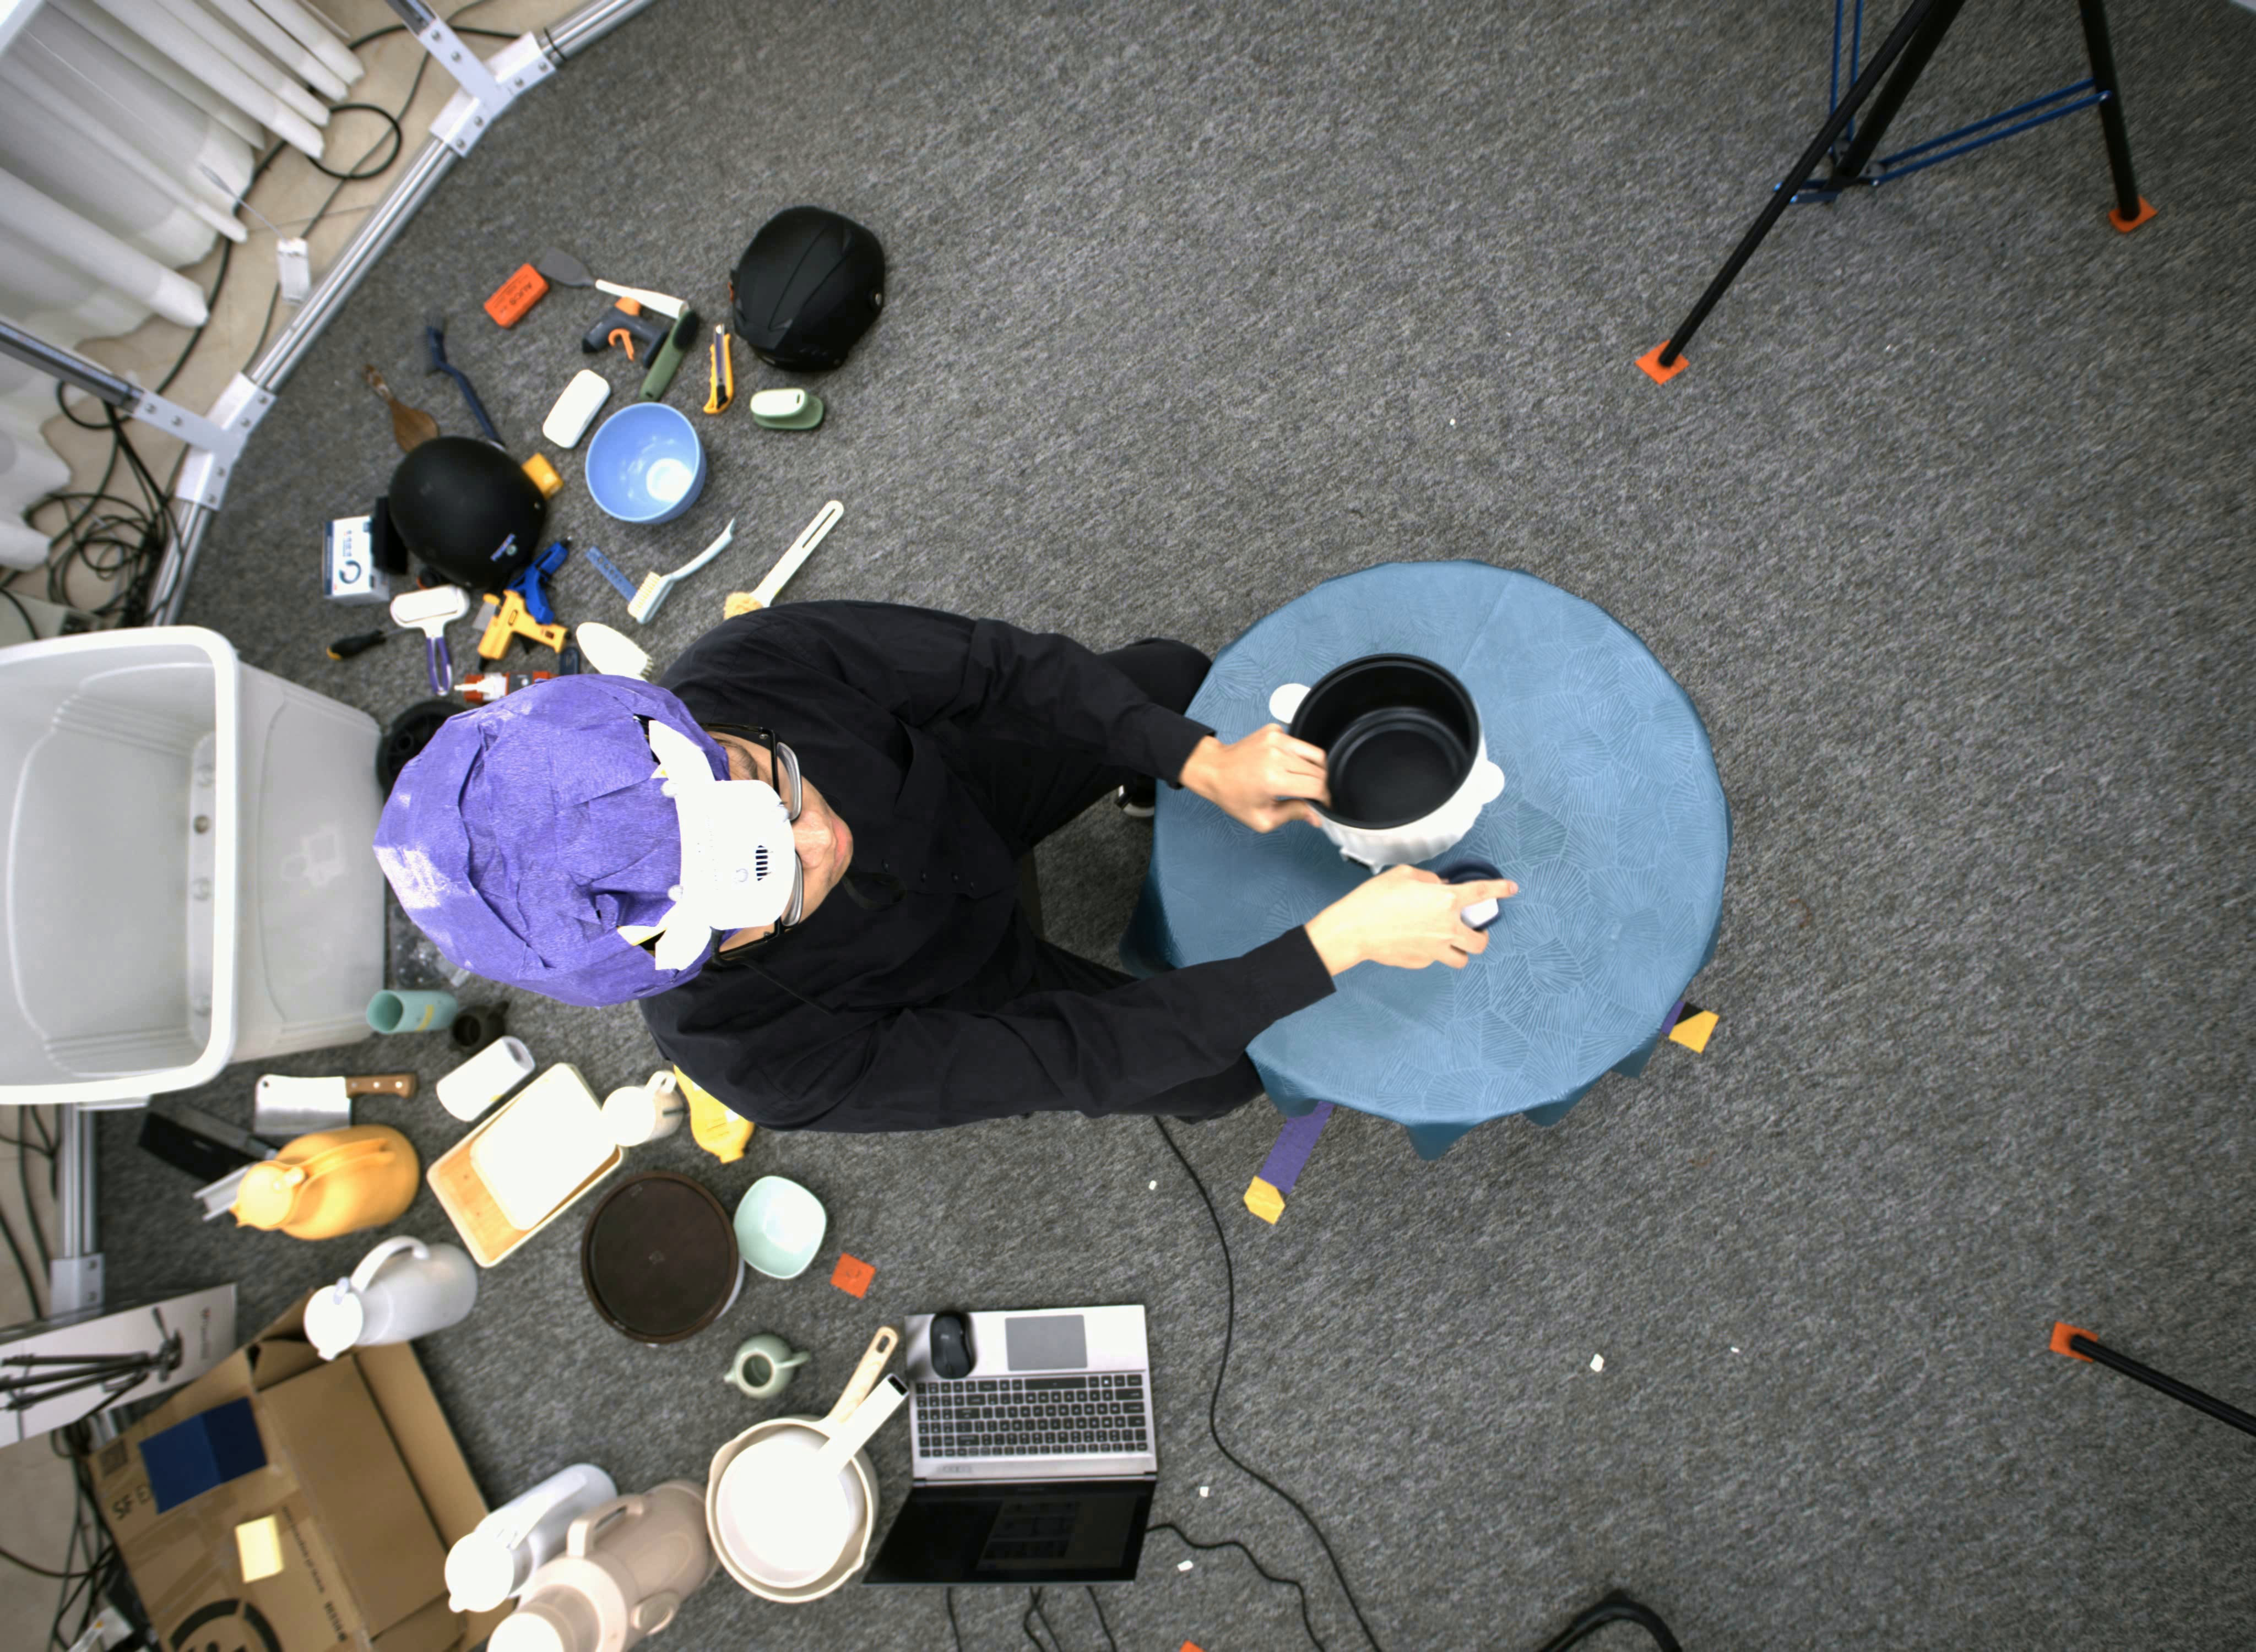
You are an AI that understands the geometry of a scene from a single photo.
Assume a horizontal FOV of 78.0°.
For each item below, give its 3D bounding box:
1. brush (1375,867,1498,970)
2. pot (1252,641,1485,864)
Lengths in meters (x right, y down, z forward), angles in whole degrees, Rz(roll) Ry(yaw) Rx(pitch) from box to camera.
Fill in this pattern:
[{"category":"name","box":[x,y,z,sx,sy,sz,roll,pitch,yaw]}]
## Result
[{"category":"brush","box":[0.288,0.083,1.286,0.123,0.060,0.068,-29,103,13]},{"category":"pot","box":[0.241,-0.073,1.329,0.239,0.144,0.189,26,82,27]}]
